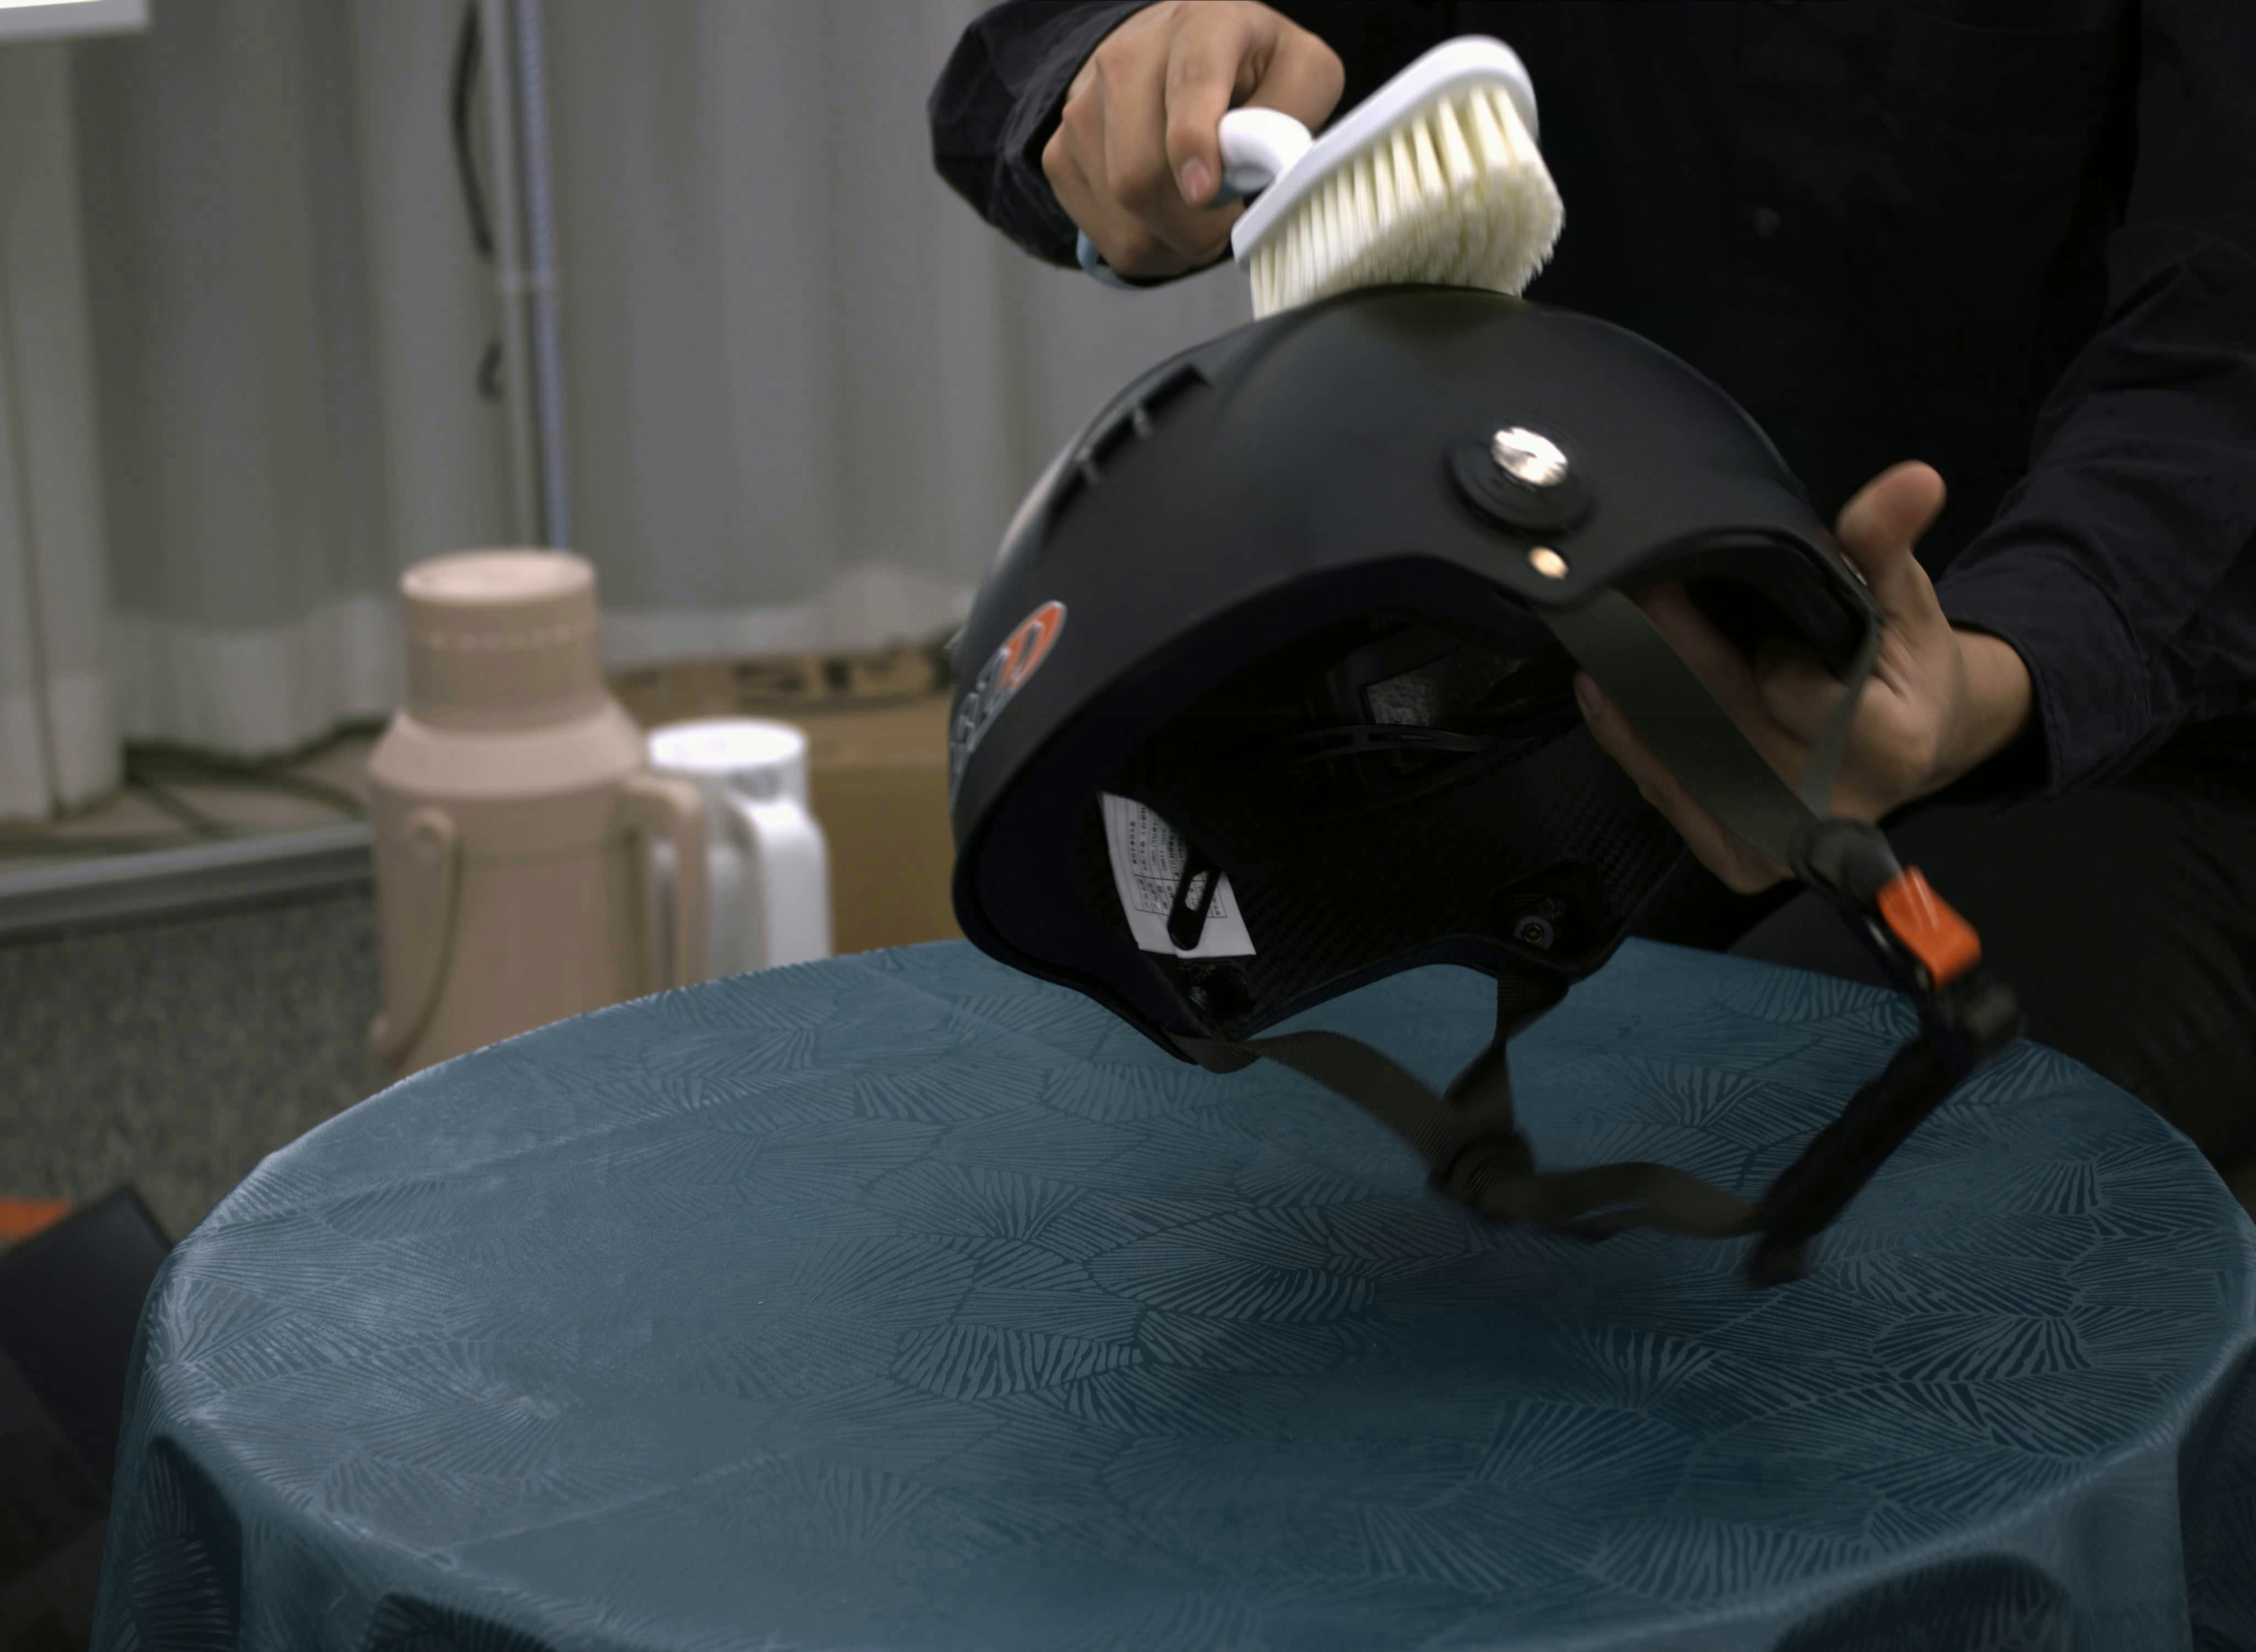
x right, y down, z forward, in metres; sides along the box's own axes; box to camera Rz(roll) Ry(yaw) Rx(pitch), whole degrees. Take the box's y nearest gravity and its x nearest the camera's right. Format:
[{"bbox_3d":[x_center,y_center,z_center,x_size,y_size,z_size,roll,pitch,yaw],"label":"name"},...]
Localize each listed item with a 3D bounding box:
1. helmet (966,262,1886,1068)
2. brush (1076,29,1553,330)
[{"bbox_3d":[0.071,-0.062,1.459,0.270,0.248,0.175,-4,56,-33],"label":"helmet"},{"bbox_3d":[0.050,-0.162,1.560,0.082,0.084,0.329,32,-12,-13],"label":"brush"}]
